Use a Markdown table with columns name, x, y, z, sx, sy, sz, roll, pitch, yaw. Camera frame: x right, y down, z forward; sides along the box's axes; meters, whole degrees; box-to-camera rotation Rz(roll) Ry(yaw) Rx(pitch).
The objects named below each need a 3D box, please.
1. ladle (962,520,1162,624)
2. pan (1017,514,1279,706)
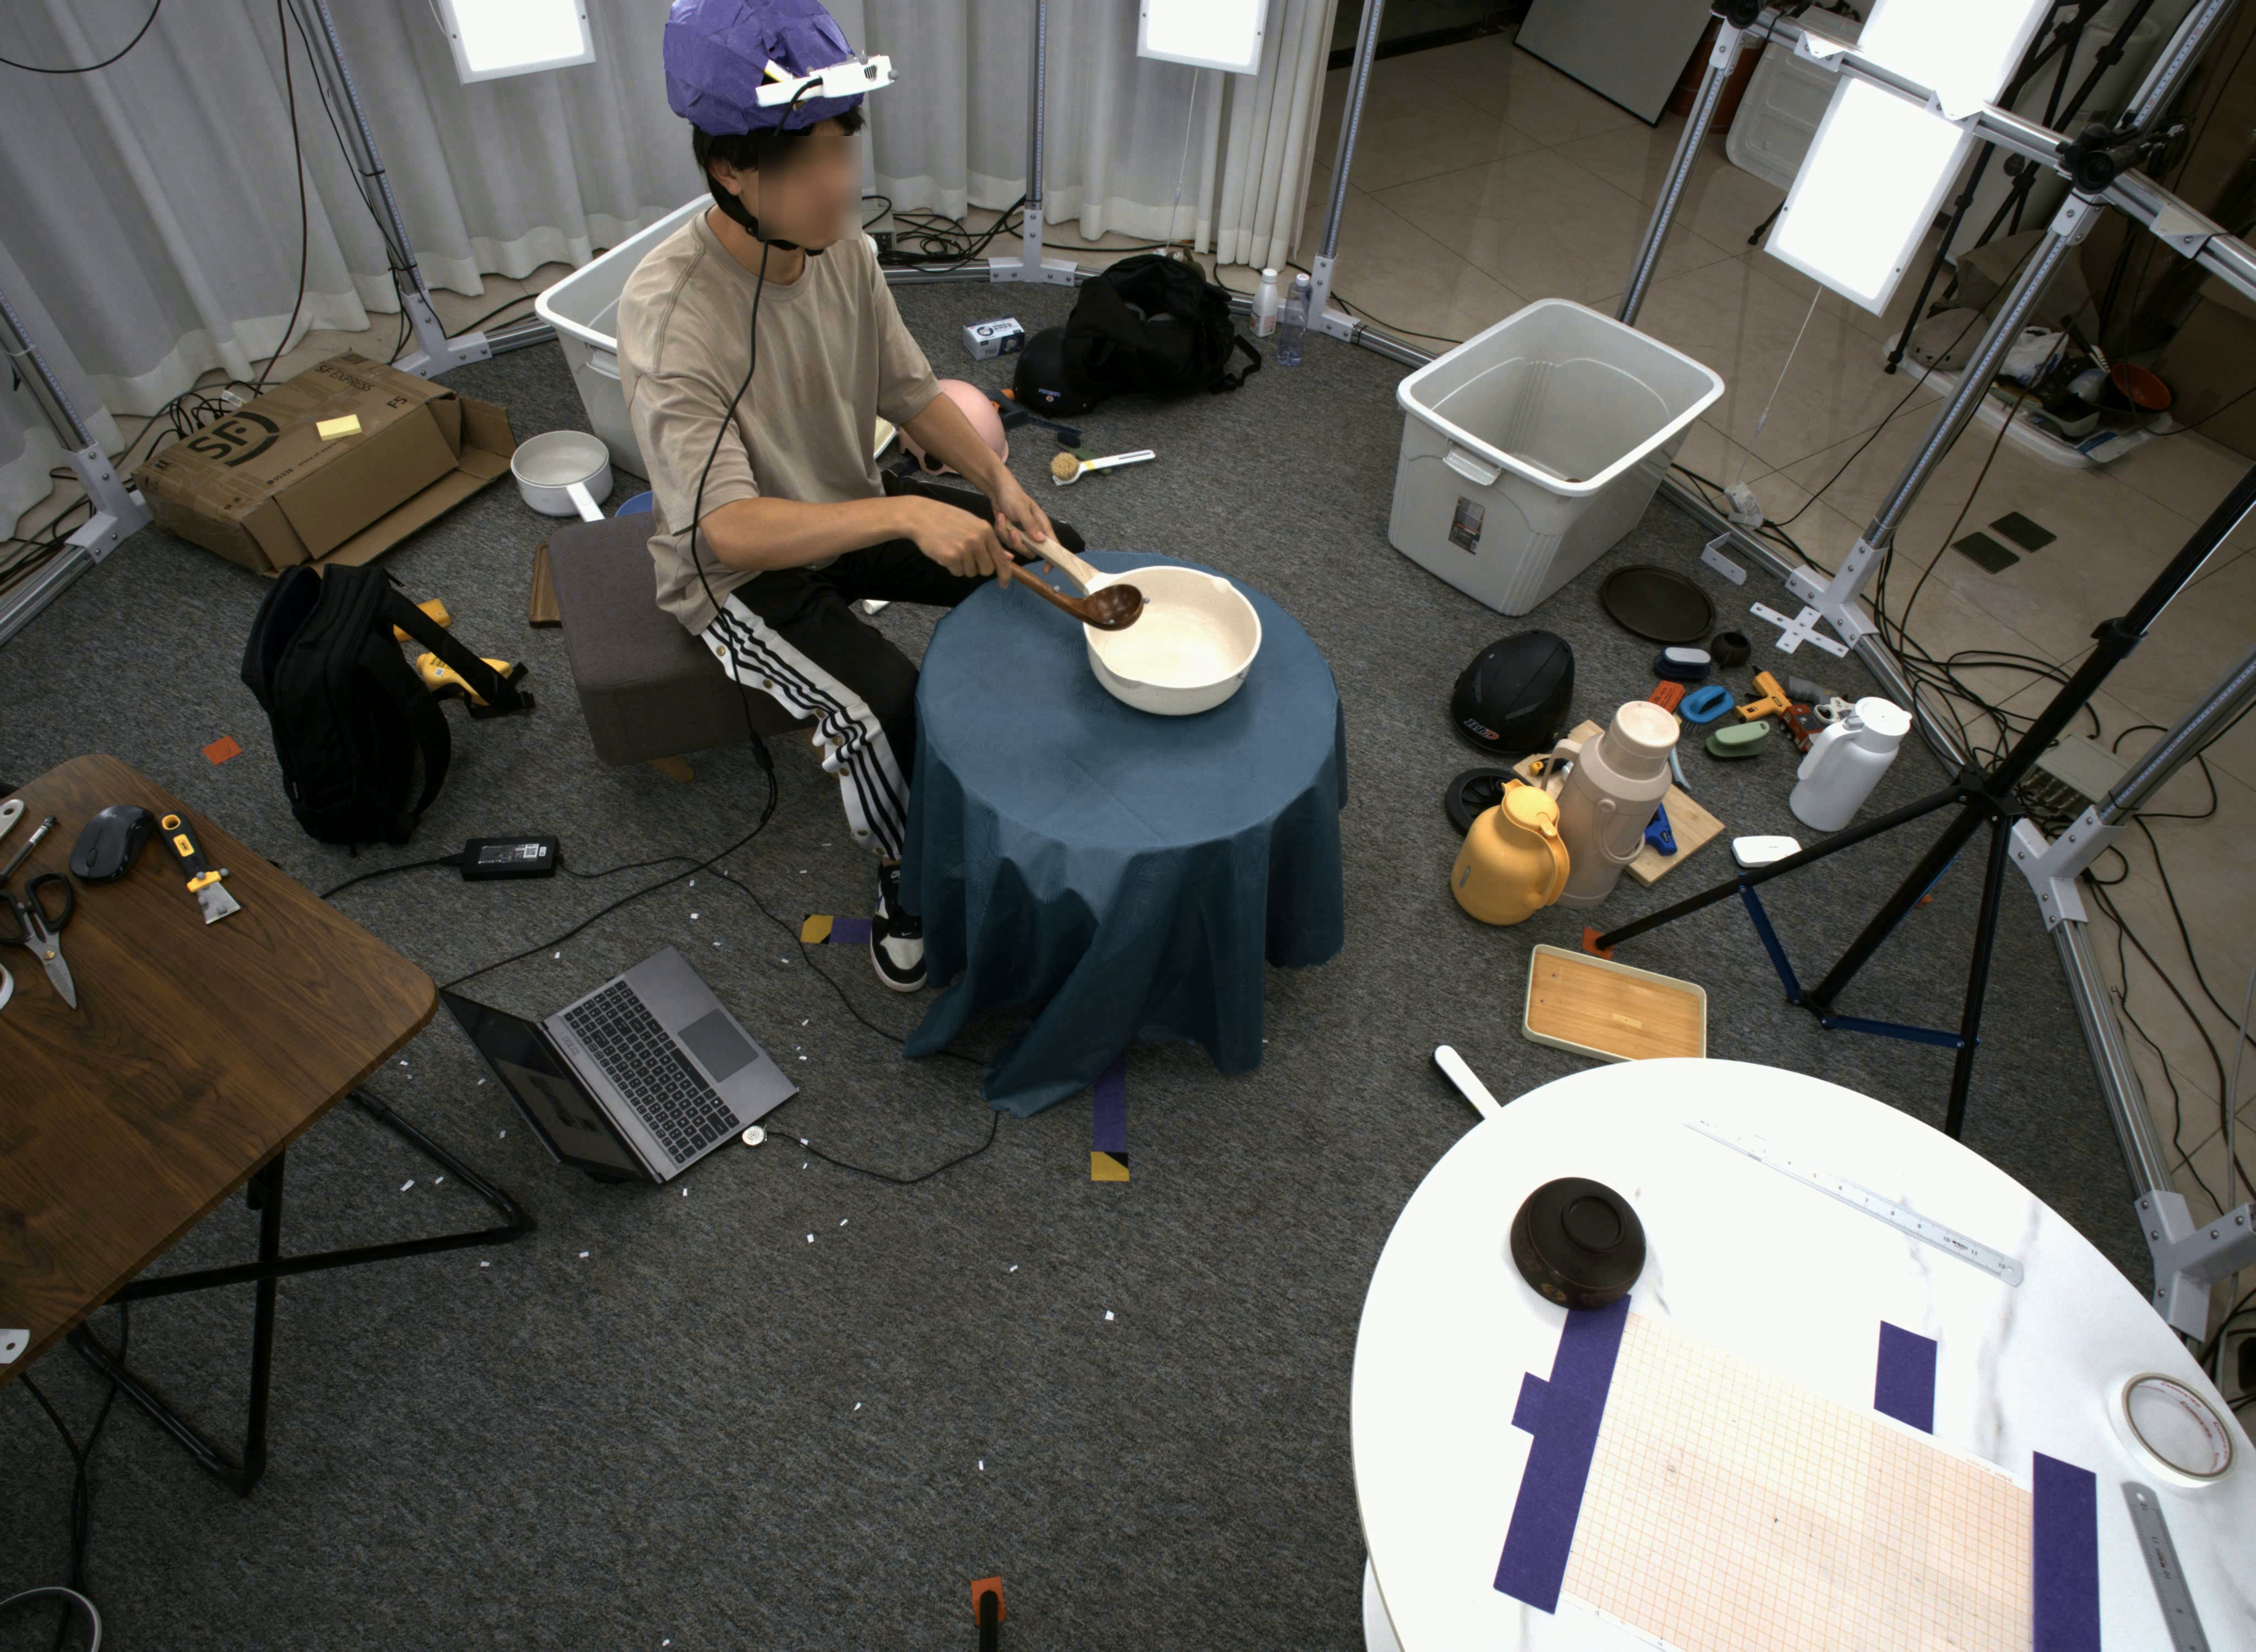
| name | x | y | z | sx | sy | sz | roll | pitch | yaw |
| --- | --- | --- | --- | --- | --- | --- | --- | --- | --- |
| ladle | -0.075 | -0.335 | 1.631 | 0.270 | 0.076 | 0.084 | 27 | 26 | -31 |
| pan | 0.013 | -0.323 | 1.873 | 0.440 | 0.099 | 0.267 | 32 | 55 | 21 |
